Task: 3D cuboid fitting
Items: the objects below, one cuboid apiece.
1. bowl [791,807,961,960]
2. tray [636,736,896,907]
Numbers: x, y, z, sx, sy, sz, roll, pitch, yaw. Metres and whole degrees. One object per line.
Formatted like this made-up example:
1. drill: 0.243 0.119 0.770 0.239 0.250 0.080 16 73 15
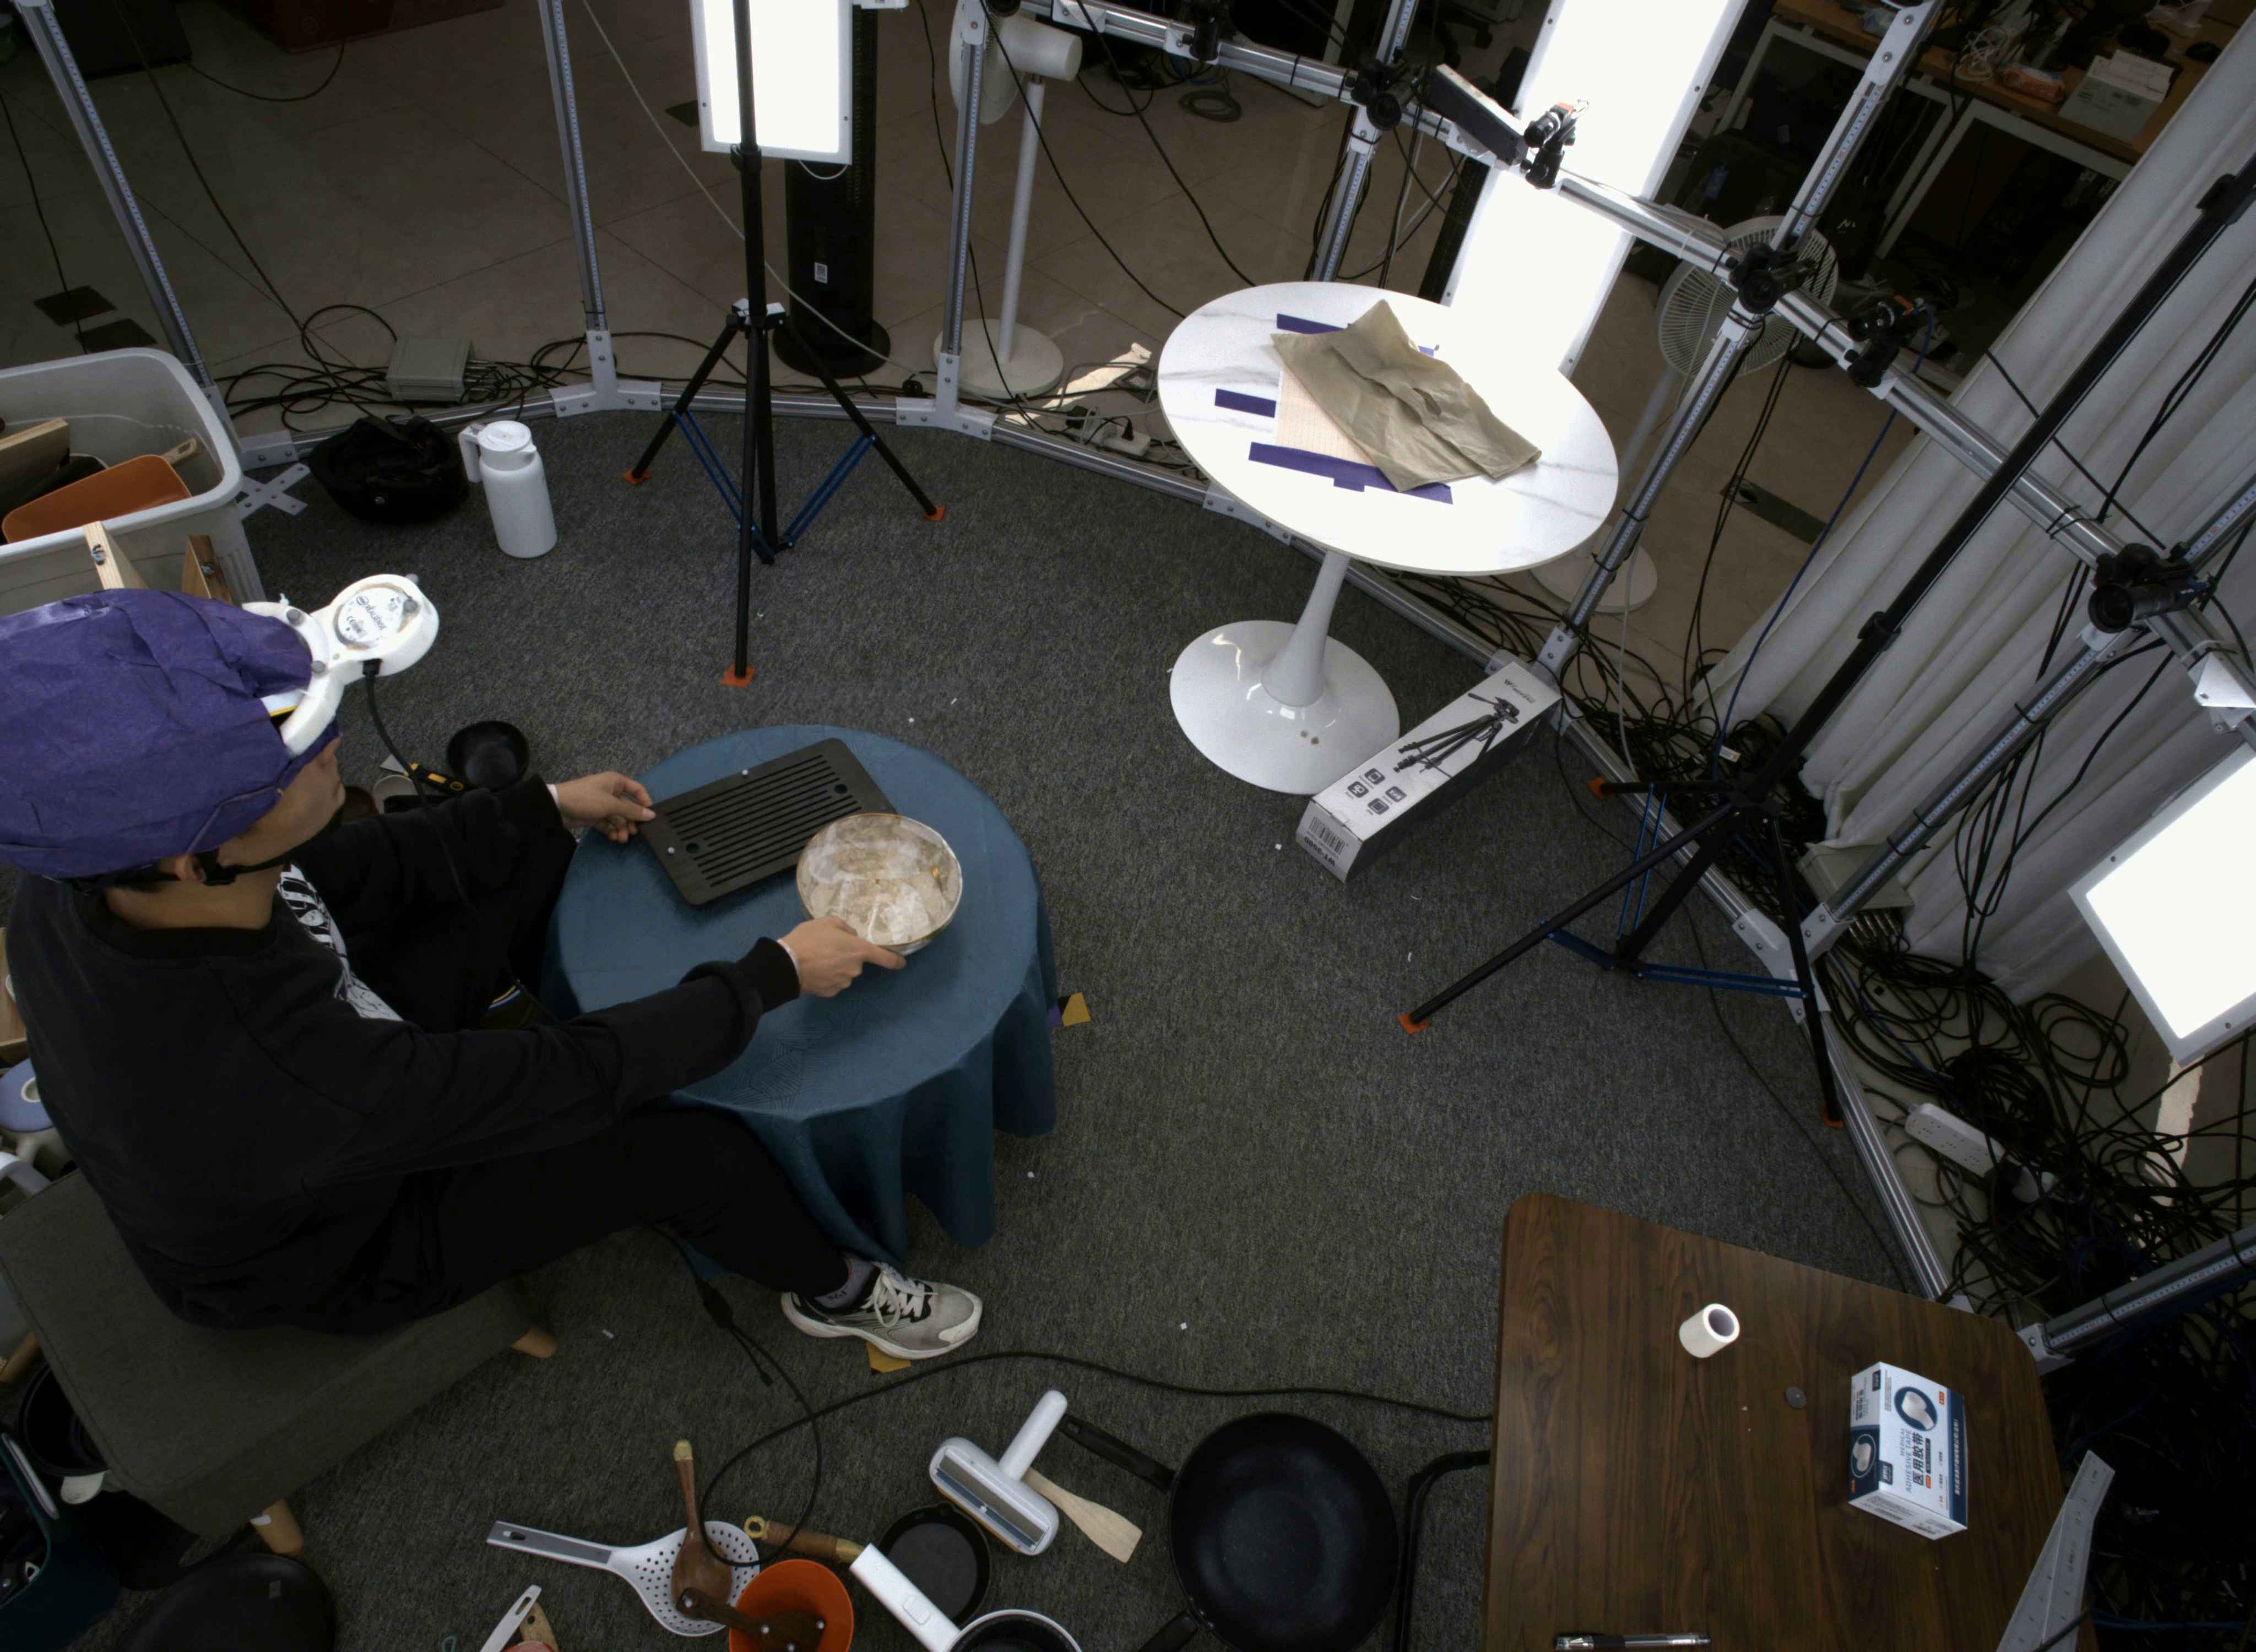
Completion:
1. bowl: -0.318 0.087 1.629 0.215 0.096 0.211 10 53 -12
2. tray: -0.474 -0.011 1.703 0.307 0.019 0.166 -26 64 -32
